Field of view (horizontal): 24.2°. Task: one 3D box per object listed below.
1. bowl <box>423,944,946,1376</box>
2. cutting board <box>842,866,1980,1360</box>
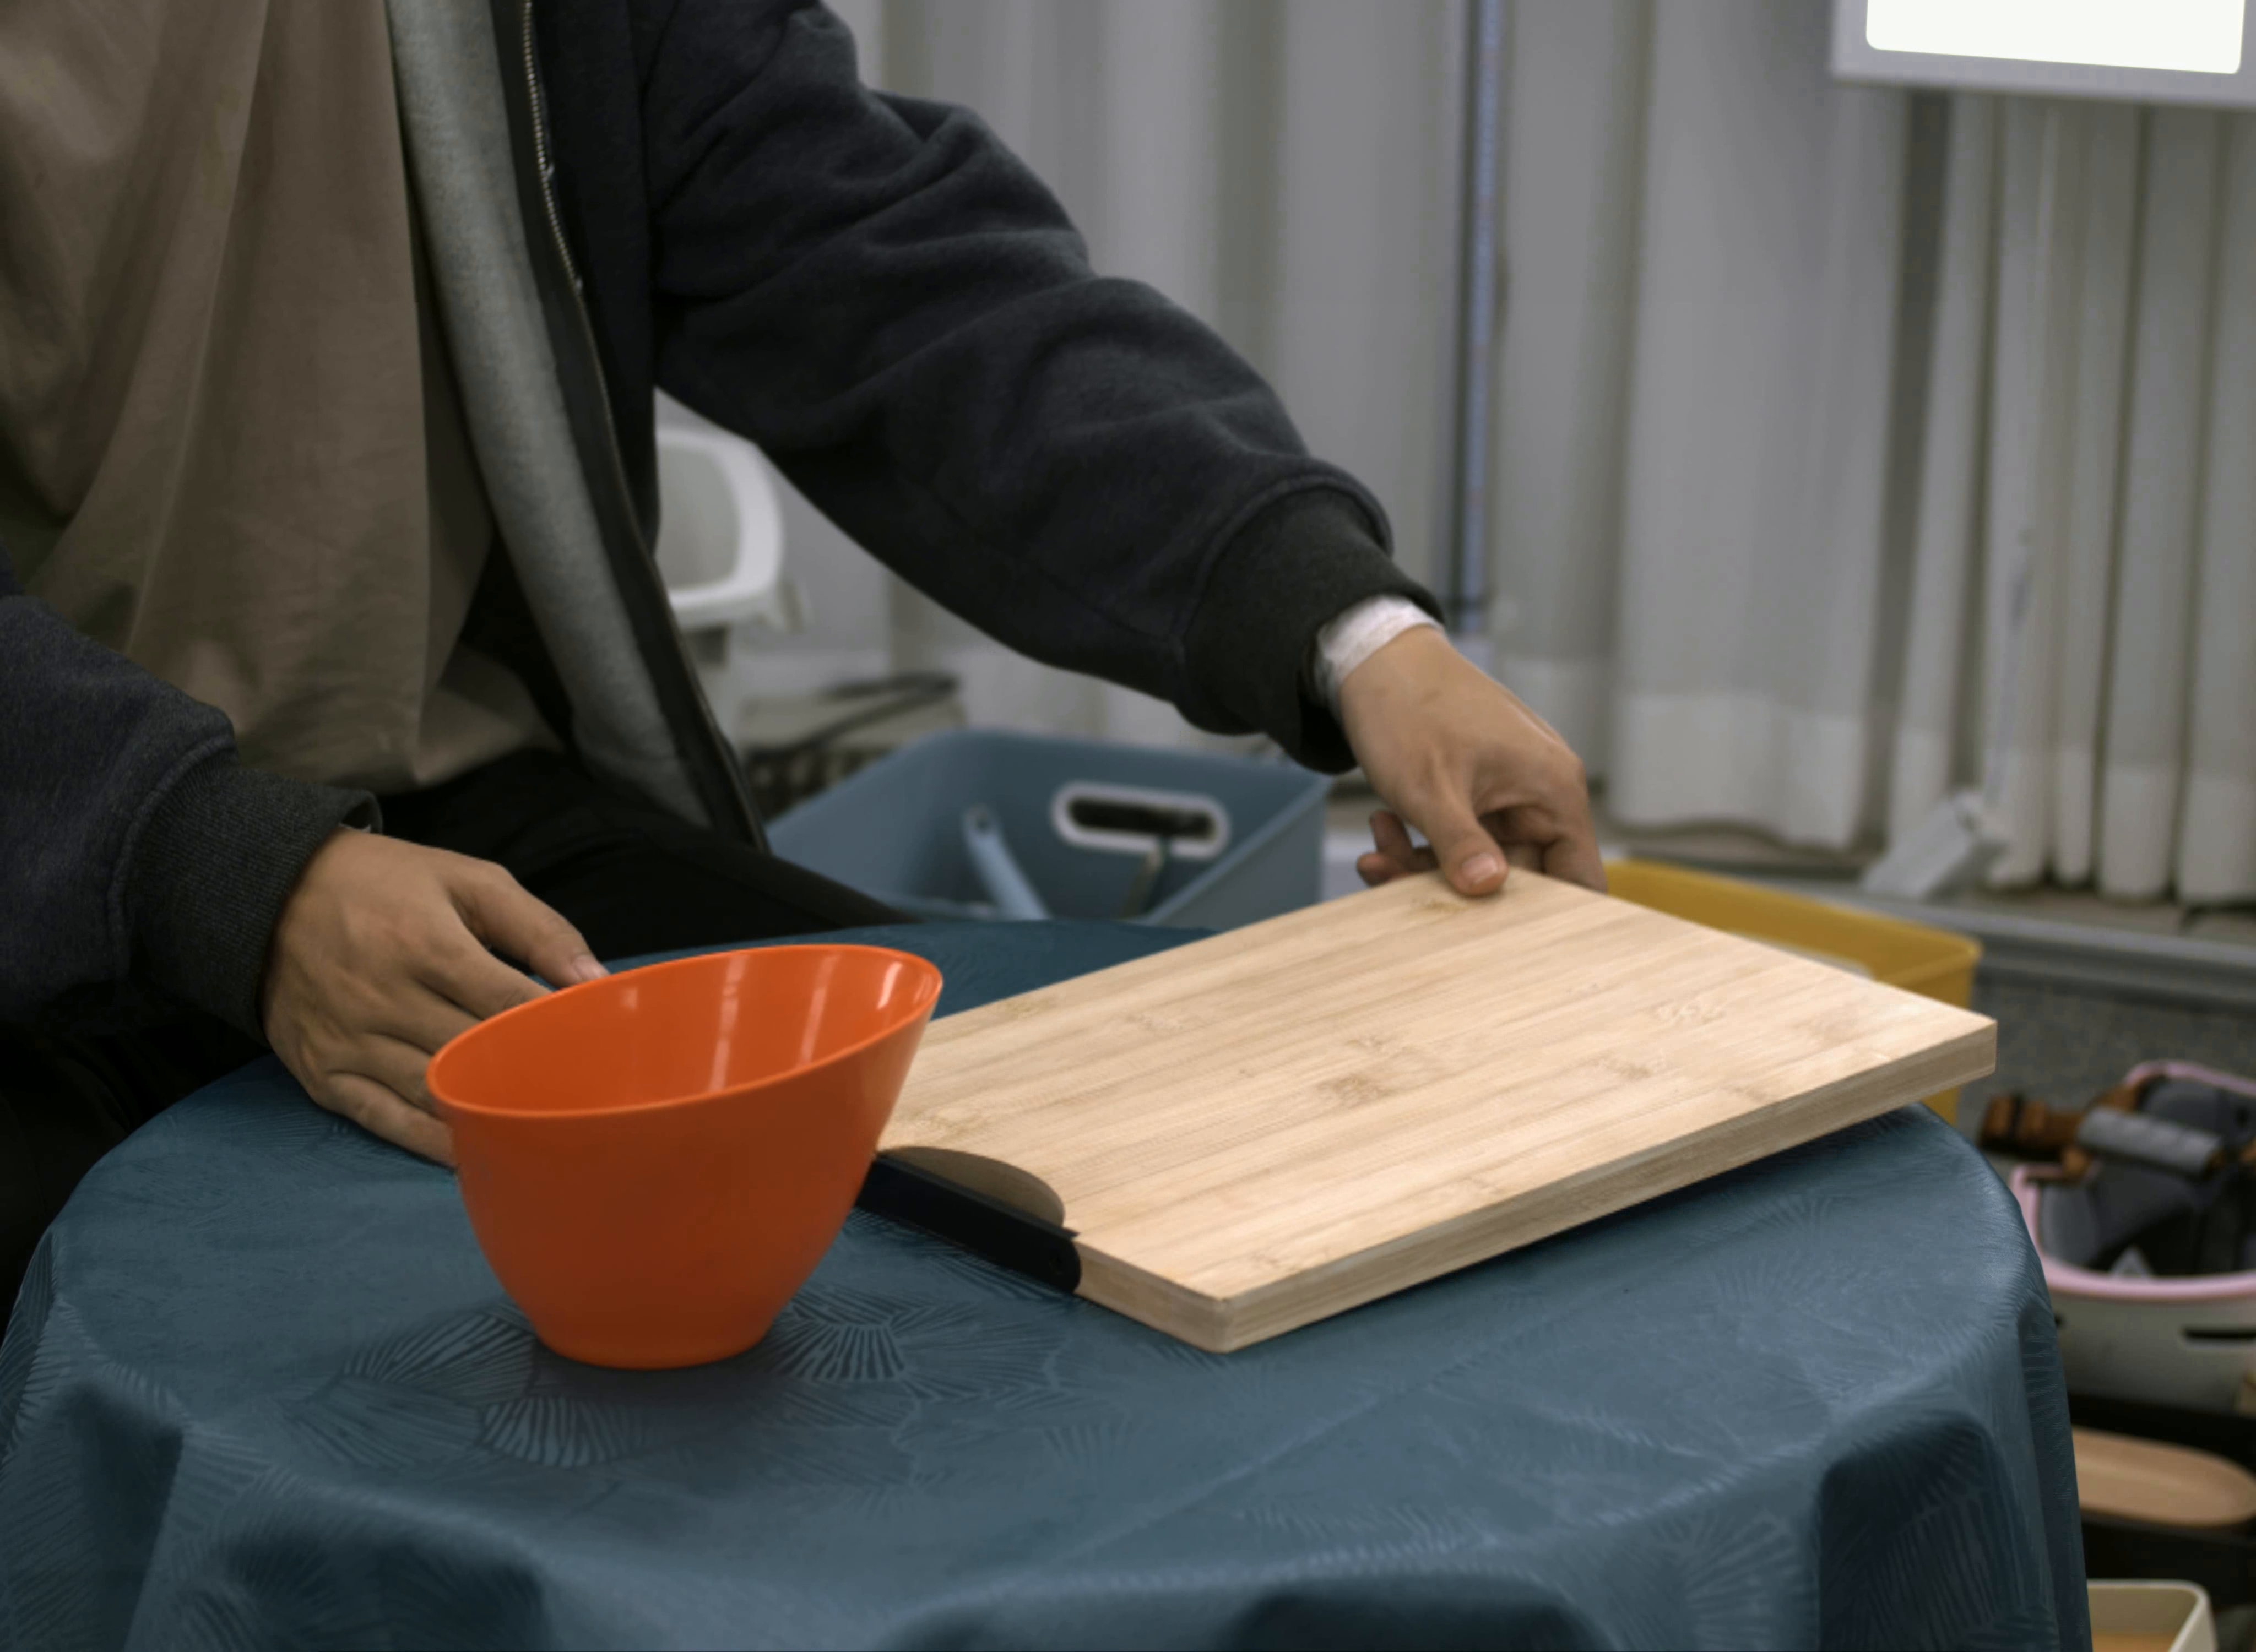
[{"bbox_3d":[-0.125,0.096,1.488,0.147,0.105,0.147,1,17,0],"label":"bowl"},{"bbox_3d":[0.069,0.084,1.674,0.350,0.024,0.247,-15,22,-40],"label":"cutting board"}]
